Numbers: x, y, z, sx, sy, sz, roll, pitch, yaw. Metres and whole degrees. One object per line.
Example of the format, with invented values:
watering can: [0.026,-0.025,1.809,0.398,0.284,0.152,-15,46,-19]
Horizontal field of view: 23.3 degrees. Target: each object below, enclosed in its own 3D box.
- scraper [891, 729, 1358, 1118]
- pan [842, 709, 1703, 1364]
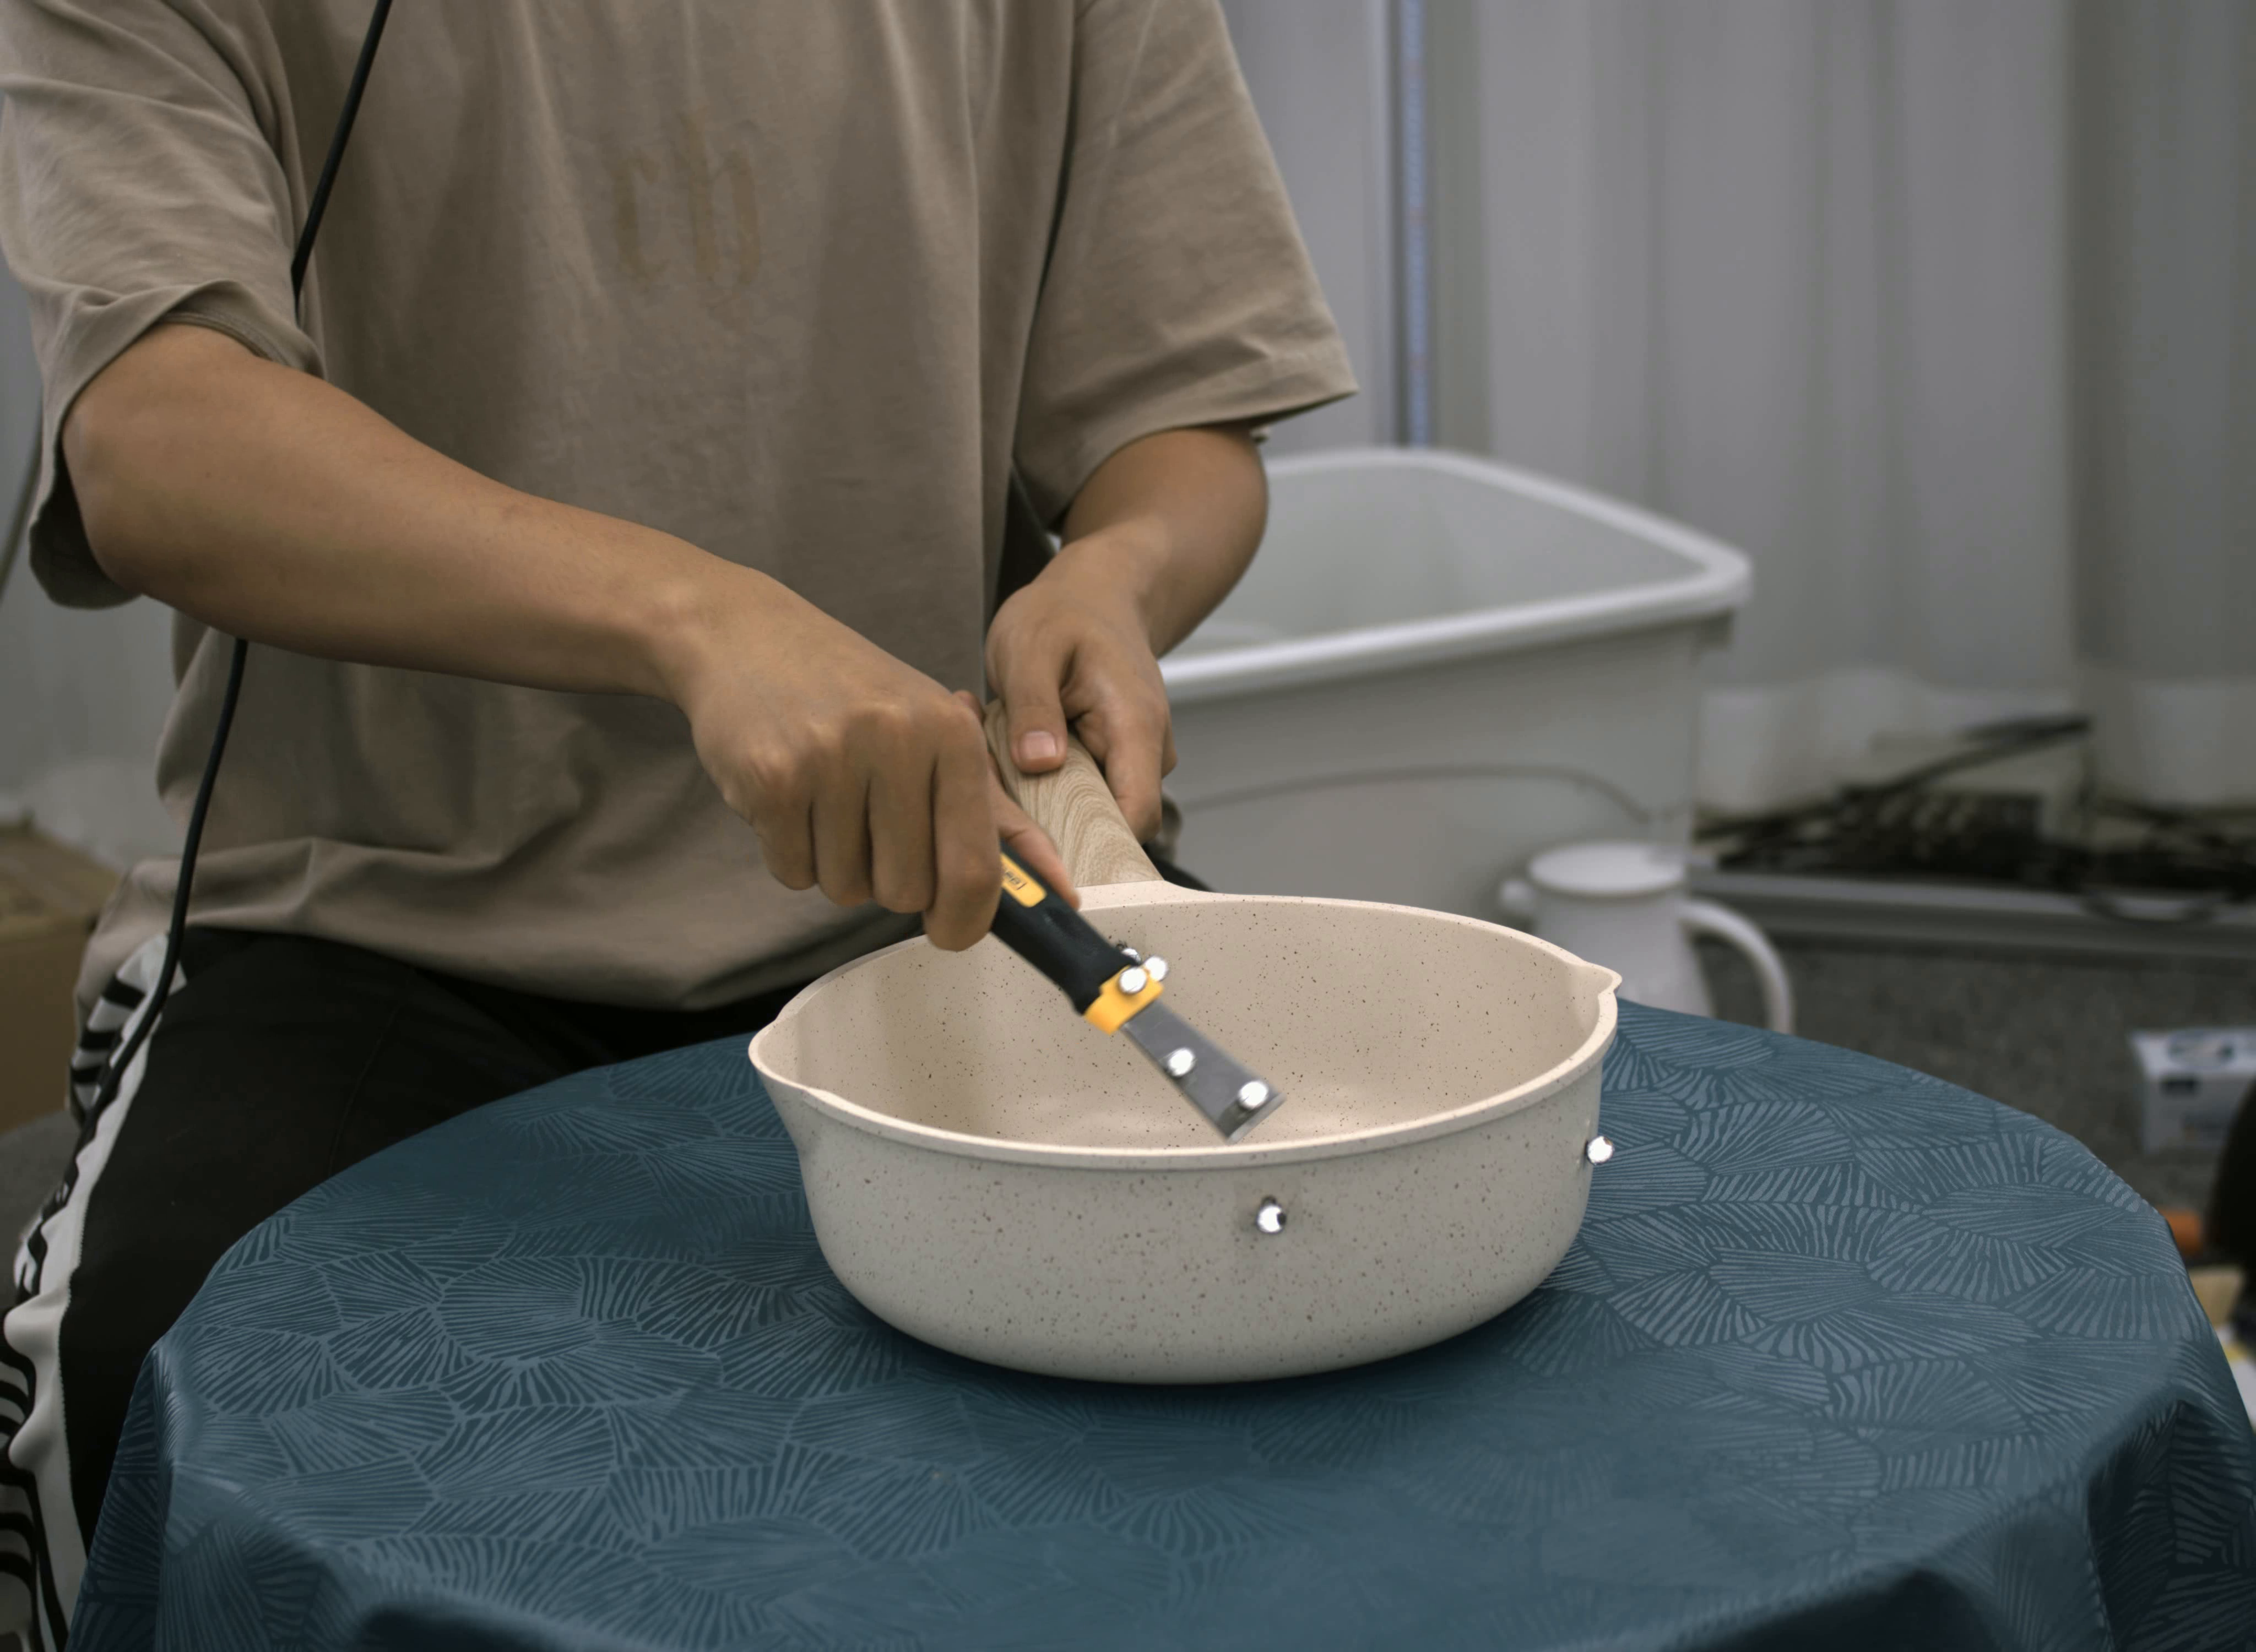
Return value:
scraper: [-0.004,0.029,1.651,0.171,0.015,0.039,40,44,10]
pan: [0.030,0.060,1.718,0.262,0.101,0.438,-8,15,-9]
